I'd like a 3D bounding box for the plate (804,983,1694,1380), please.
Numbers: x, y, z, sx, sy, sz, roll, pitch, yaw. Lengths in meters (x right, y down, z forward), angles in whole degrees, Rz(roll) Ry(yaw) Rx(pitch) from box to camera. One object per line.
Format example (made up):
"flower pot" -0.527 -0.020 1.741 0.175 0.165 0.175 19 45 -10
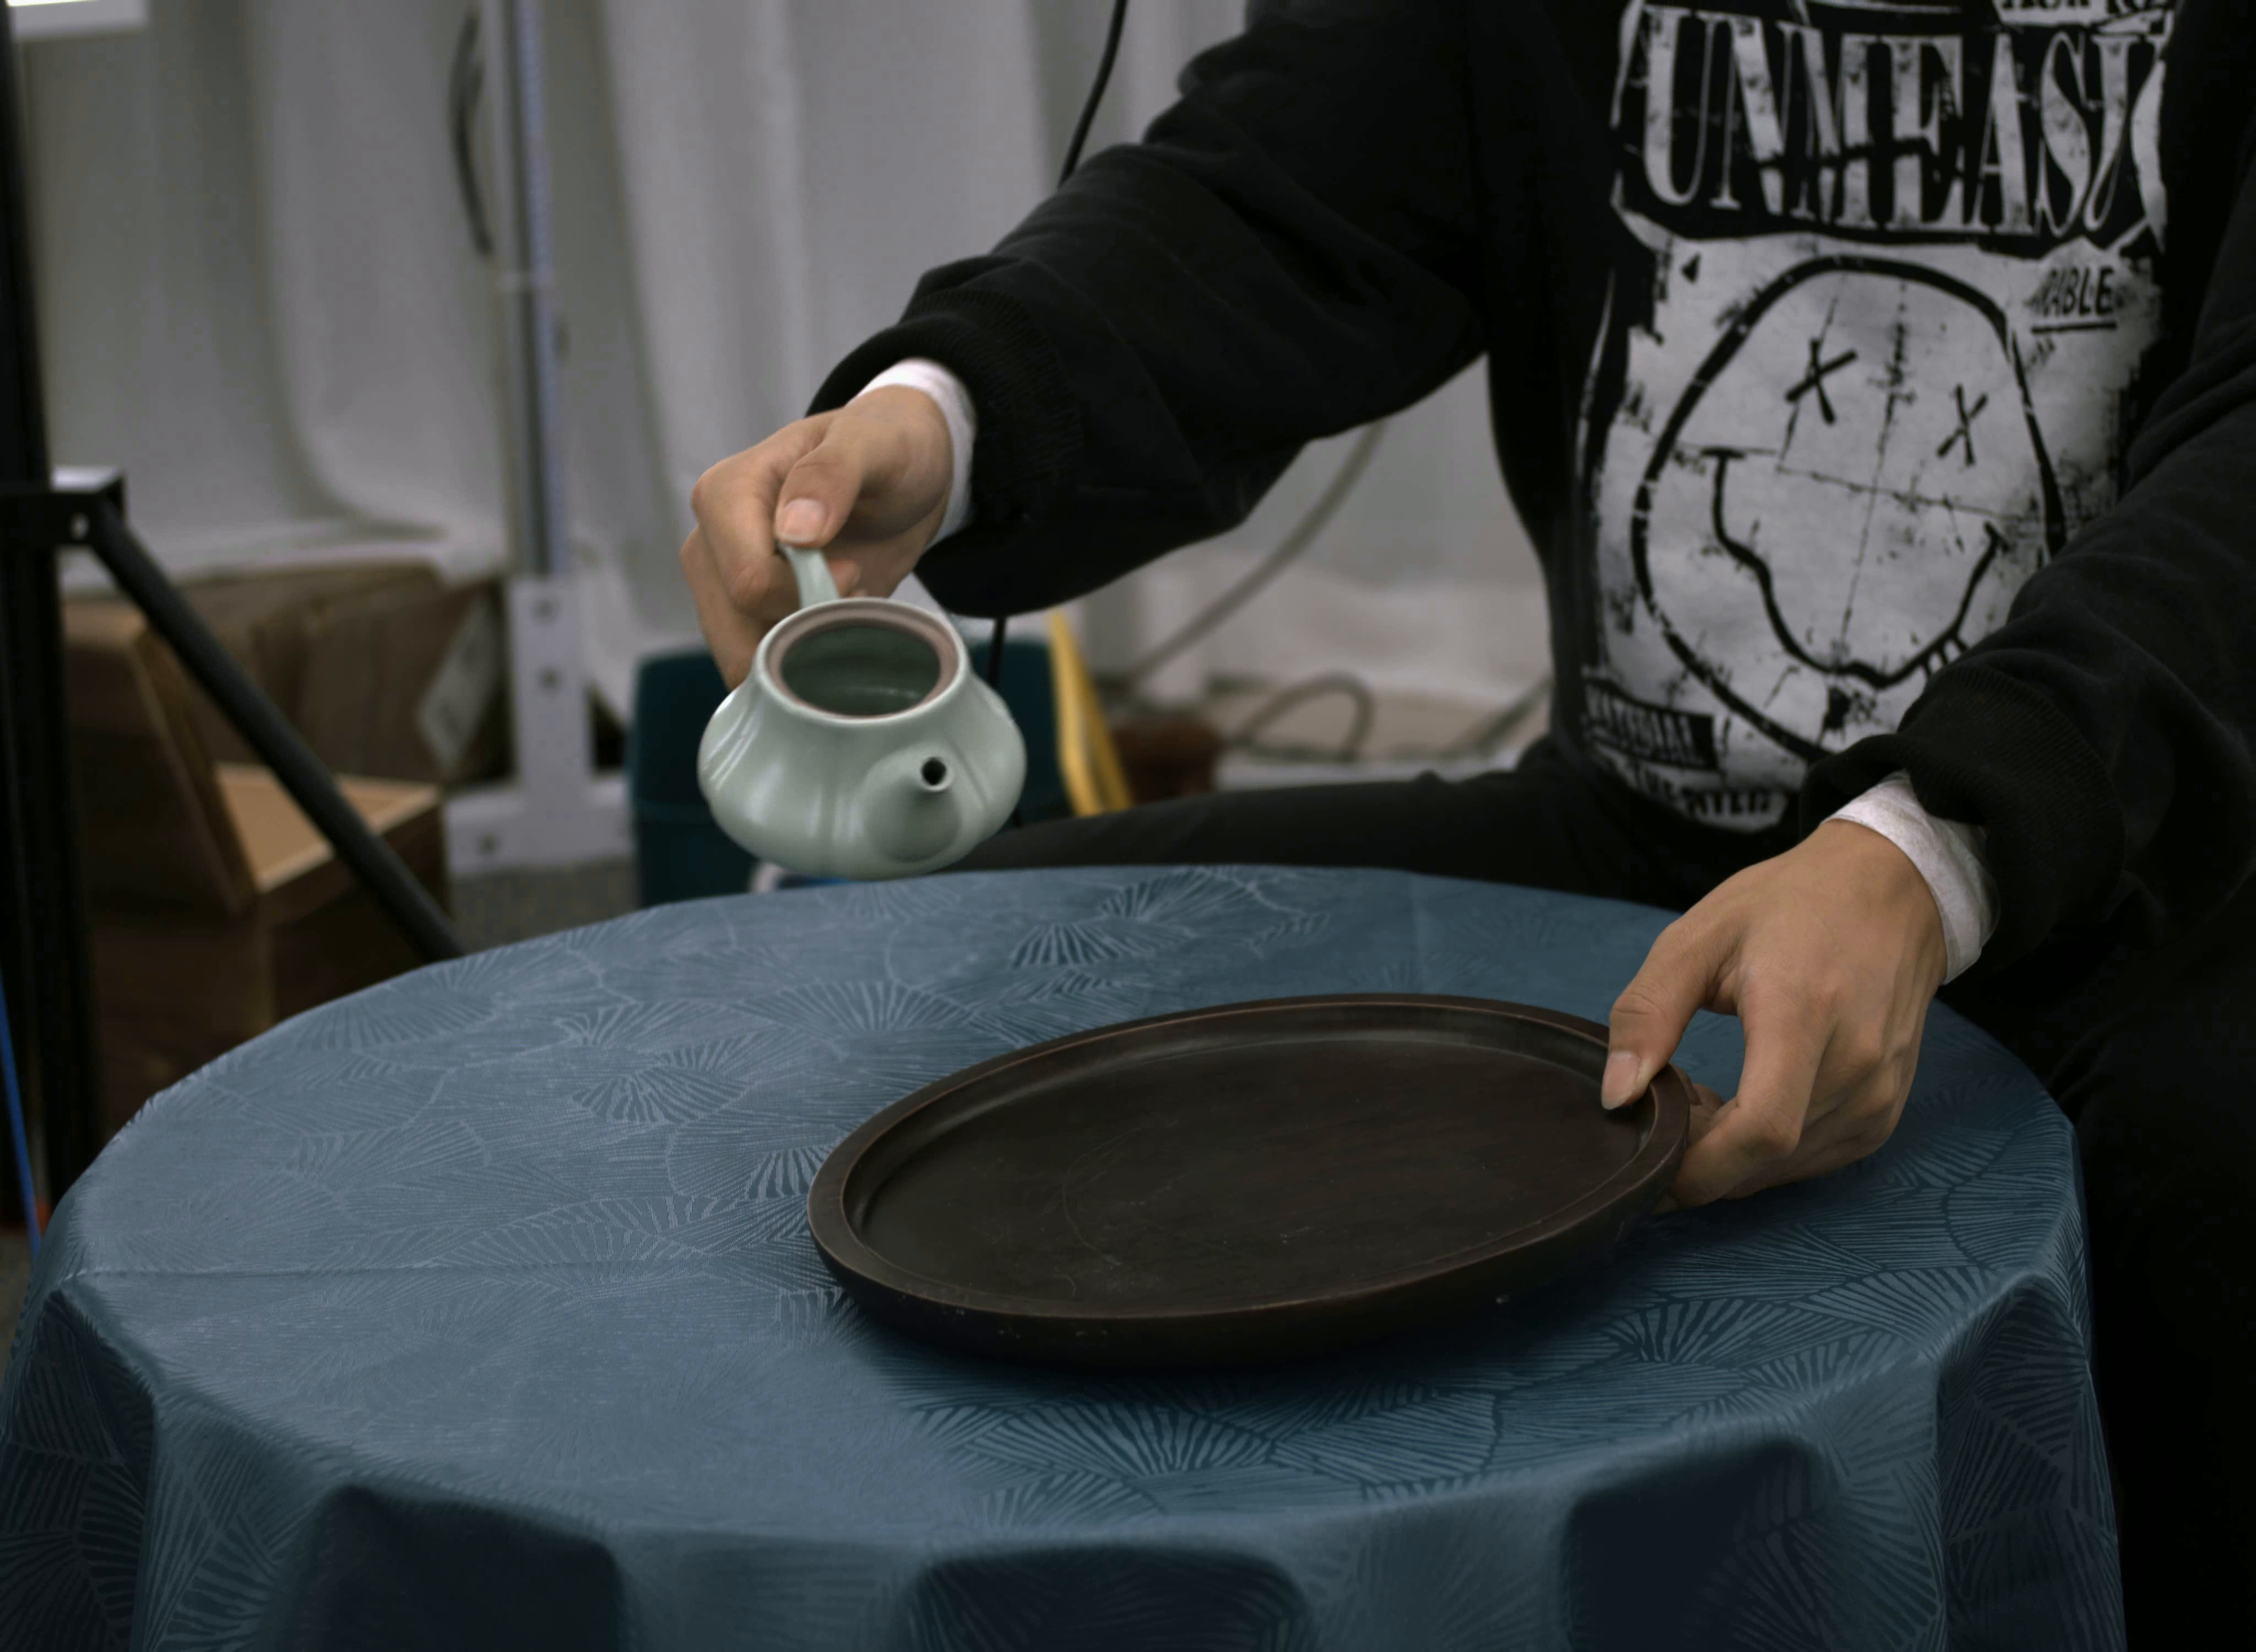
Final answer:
"plate" 0.034 0.100 1.499 0.254 0.029 0.256 -9 17 1

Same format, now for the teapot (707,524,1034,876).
"teapot" -0.077 -0.033 1.568 0.094 0.061 0.140 -15 43 -18
